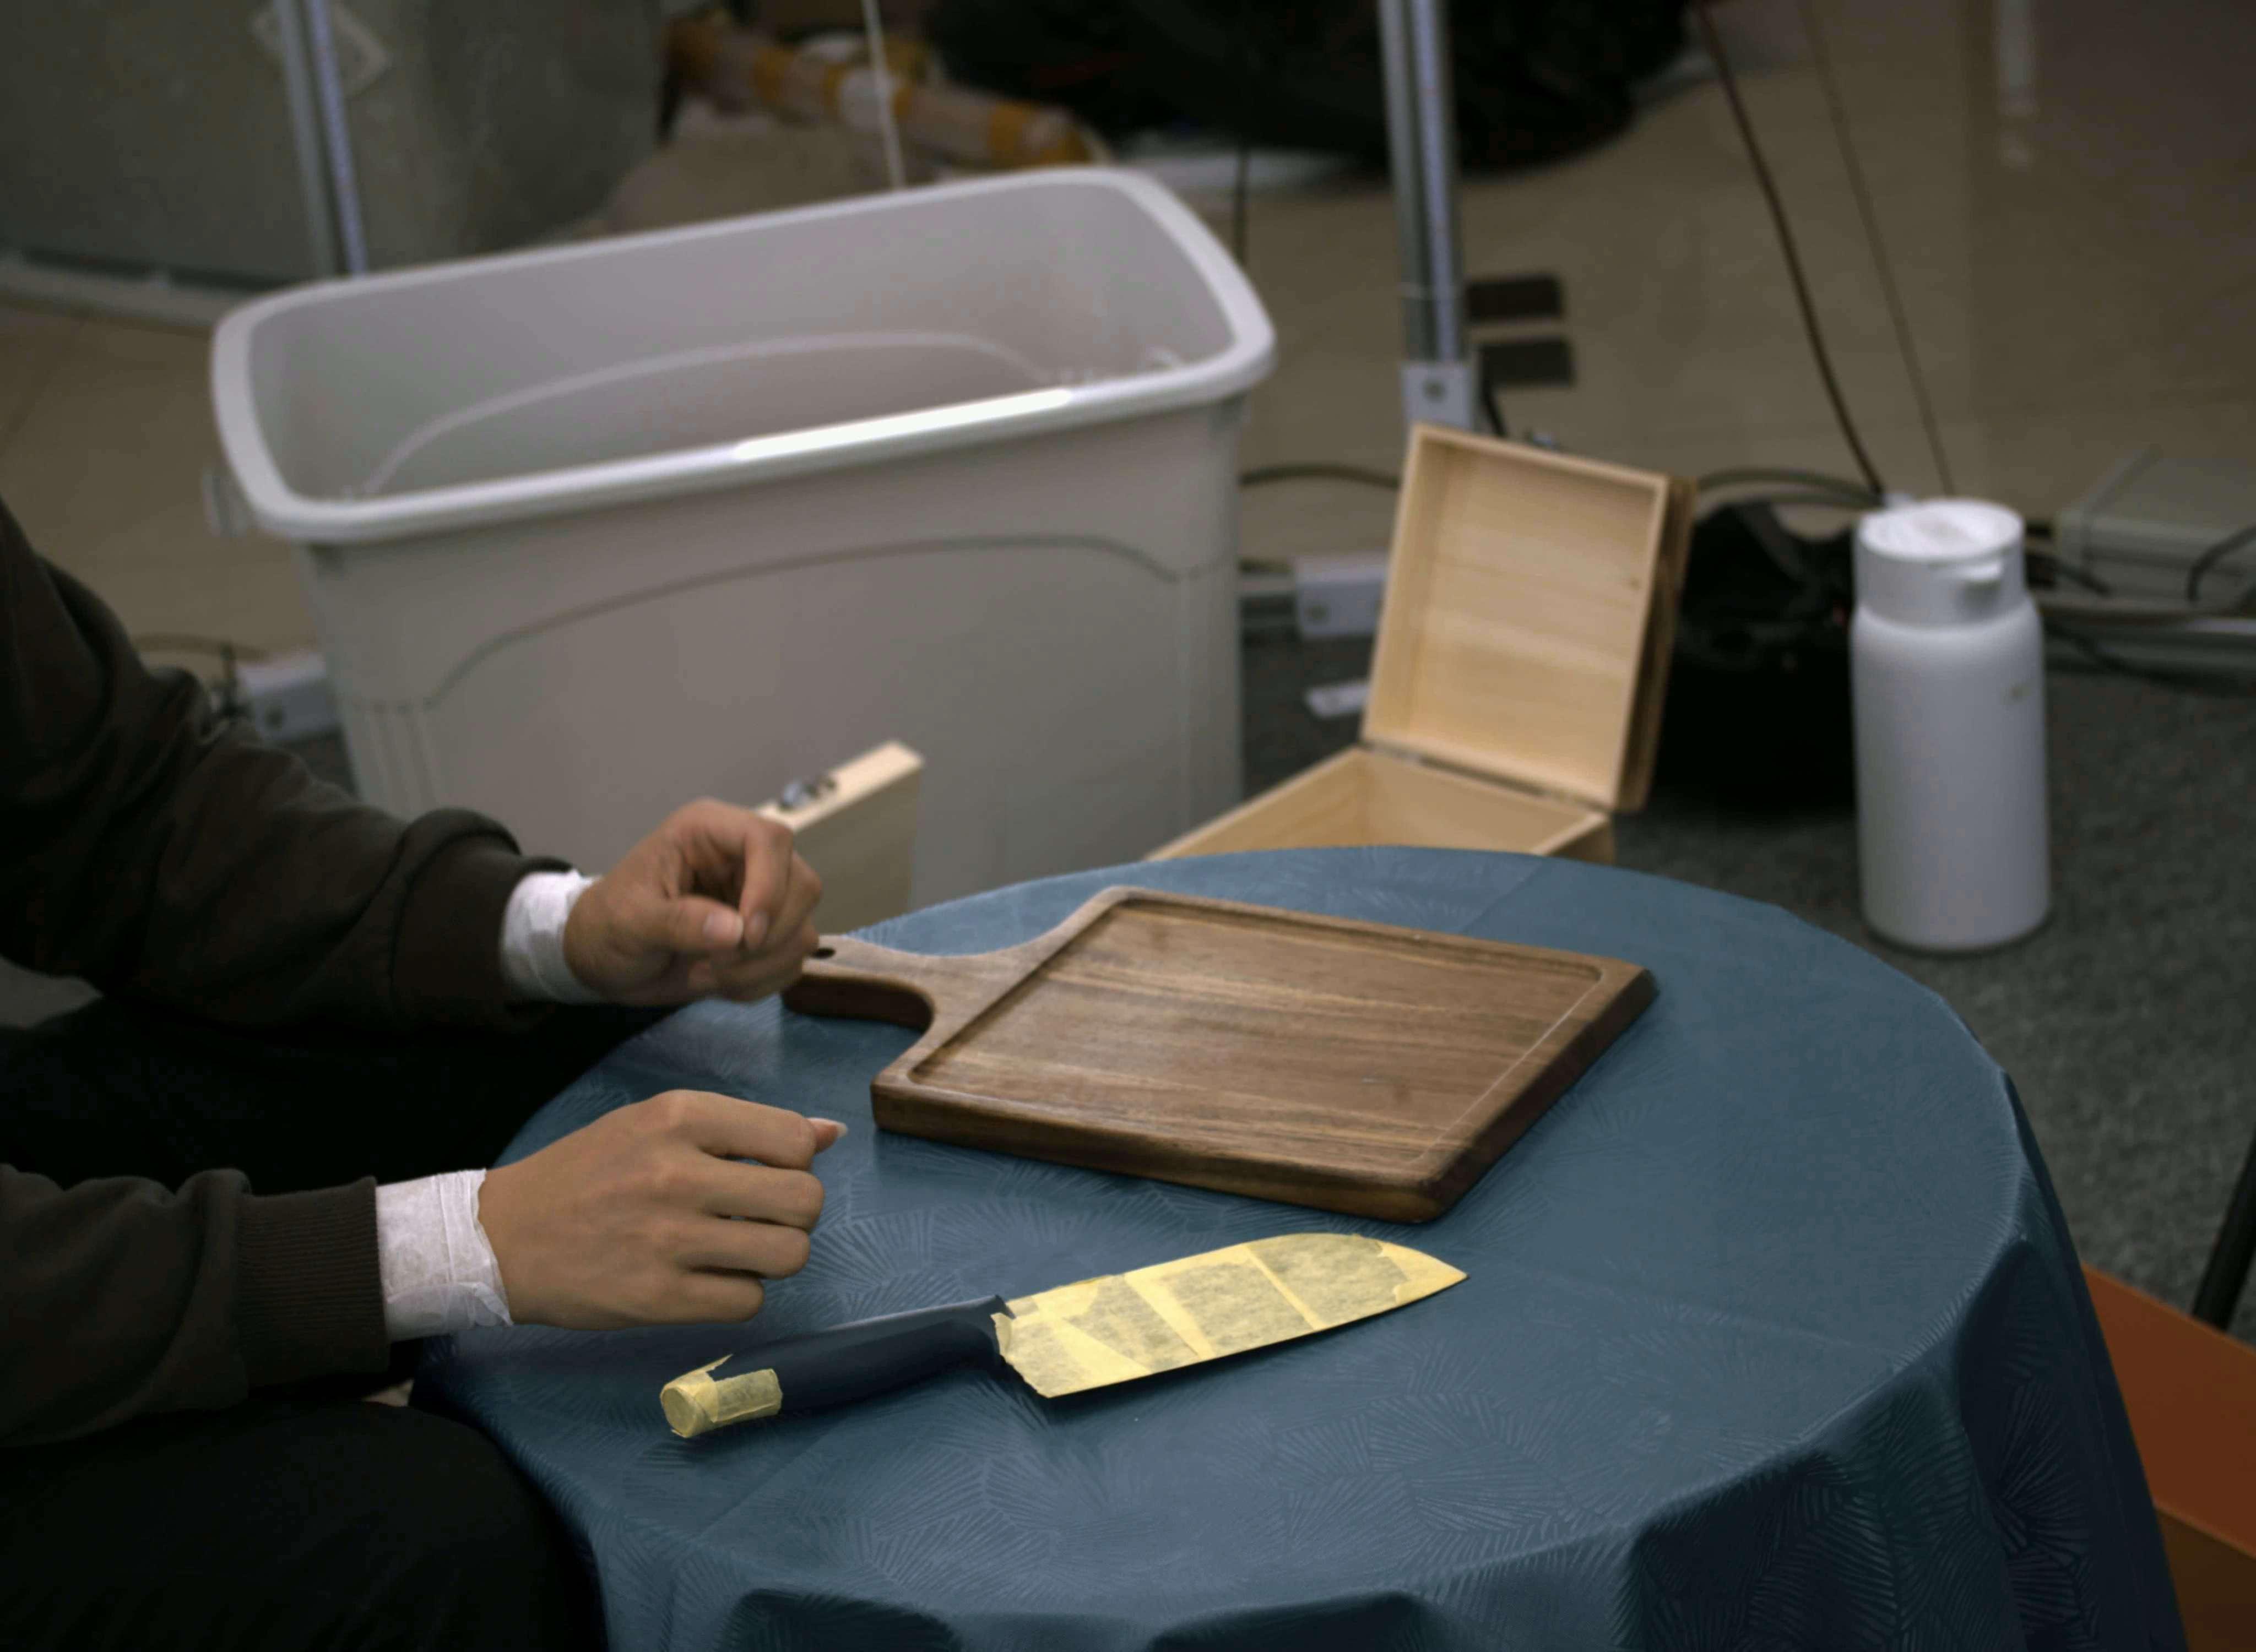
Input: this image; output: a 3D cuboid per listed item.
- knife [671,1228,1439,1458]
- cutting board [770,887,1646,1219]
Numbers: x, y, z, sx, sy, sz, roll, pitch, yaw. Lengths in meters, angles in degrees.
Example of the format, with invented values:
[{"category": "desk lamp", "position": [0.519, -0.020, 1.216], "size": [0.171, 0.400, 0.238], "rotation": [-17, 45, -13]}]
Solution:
[{"category": "knife", "position": [-0.022, 0.186, 2.039], "size": [0.288, 0.027, 0.080], "rotation": [-13, 24, -16]}, {"category": "cutting board", "position": [0.010, 0.079, 2.252], "size": [0.350, 0.023, 0.198], "rotation": [8, 28, 29]}]
